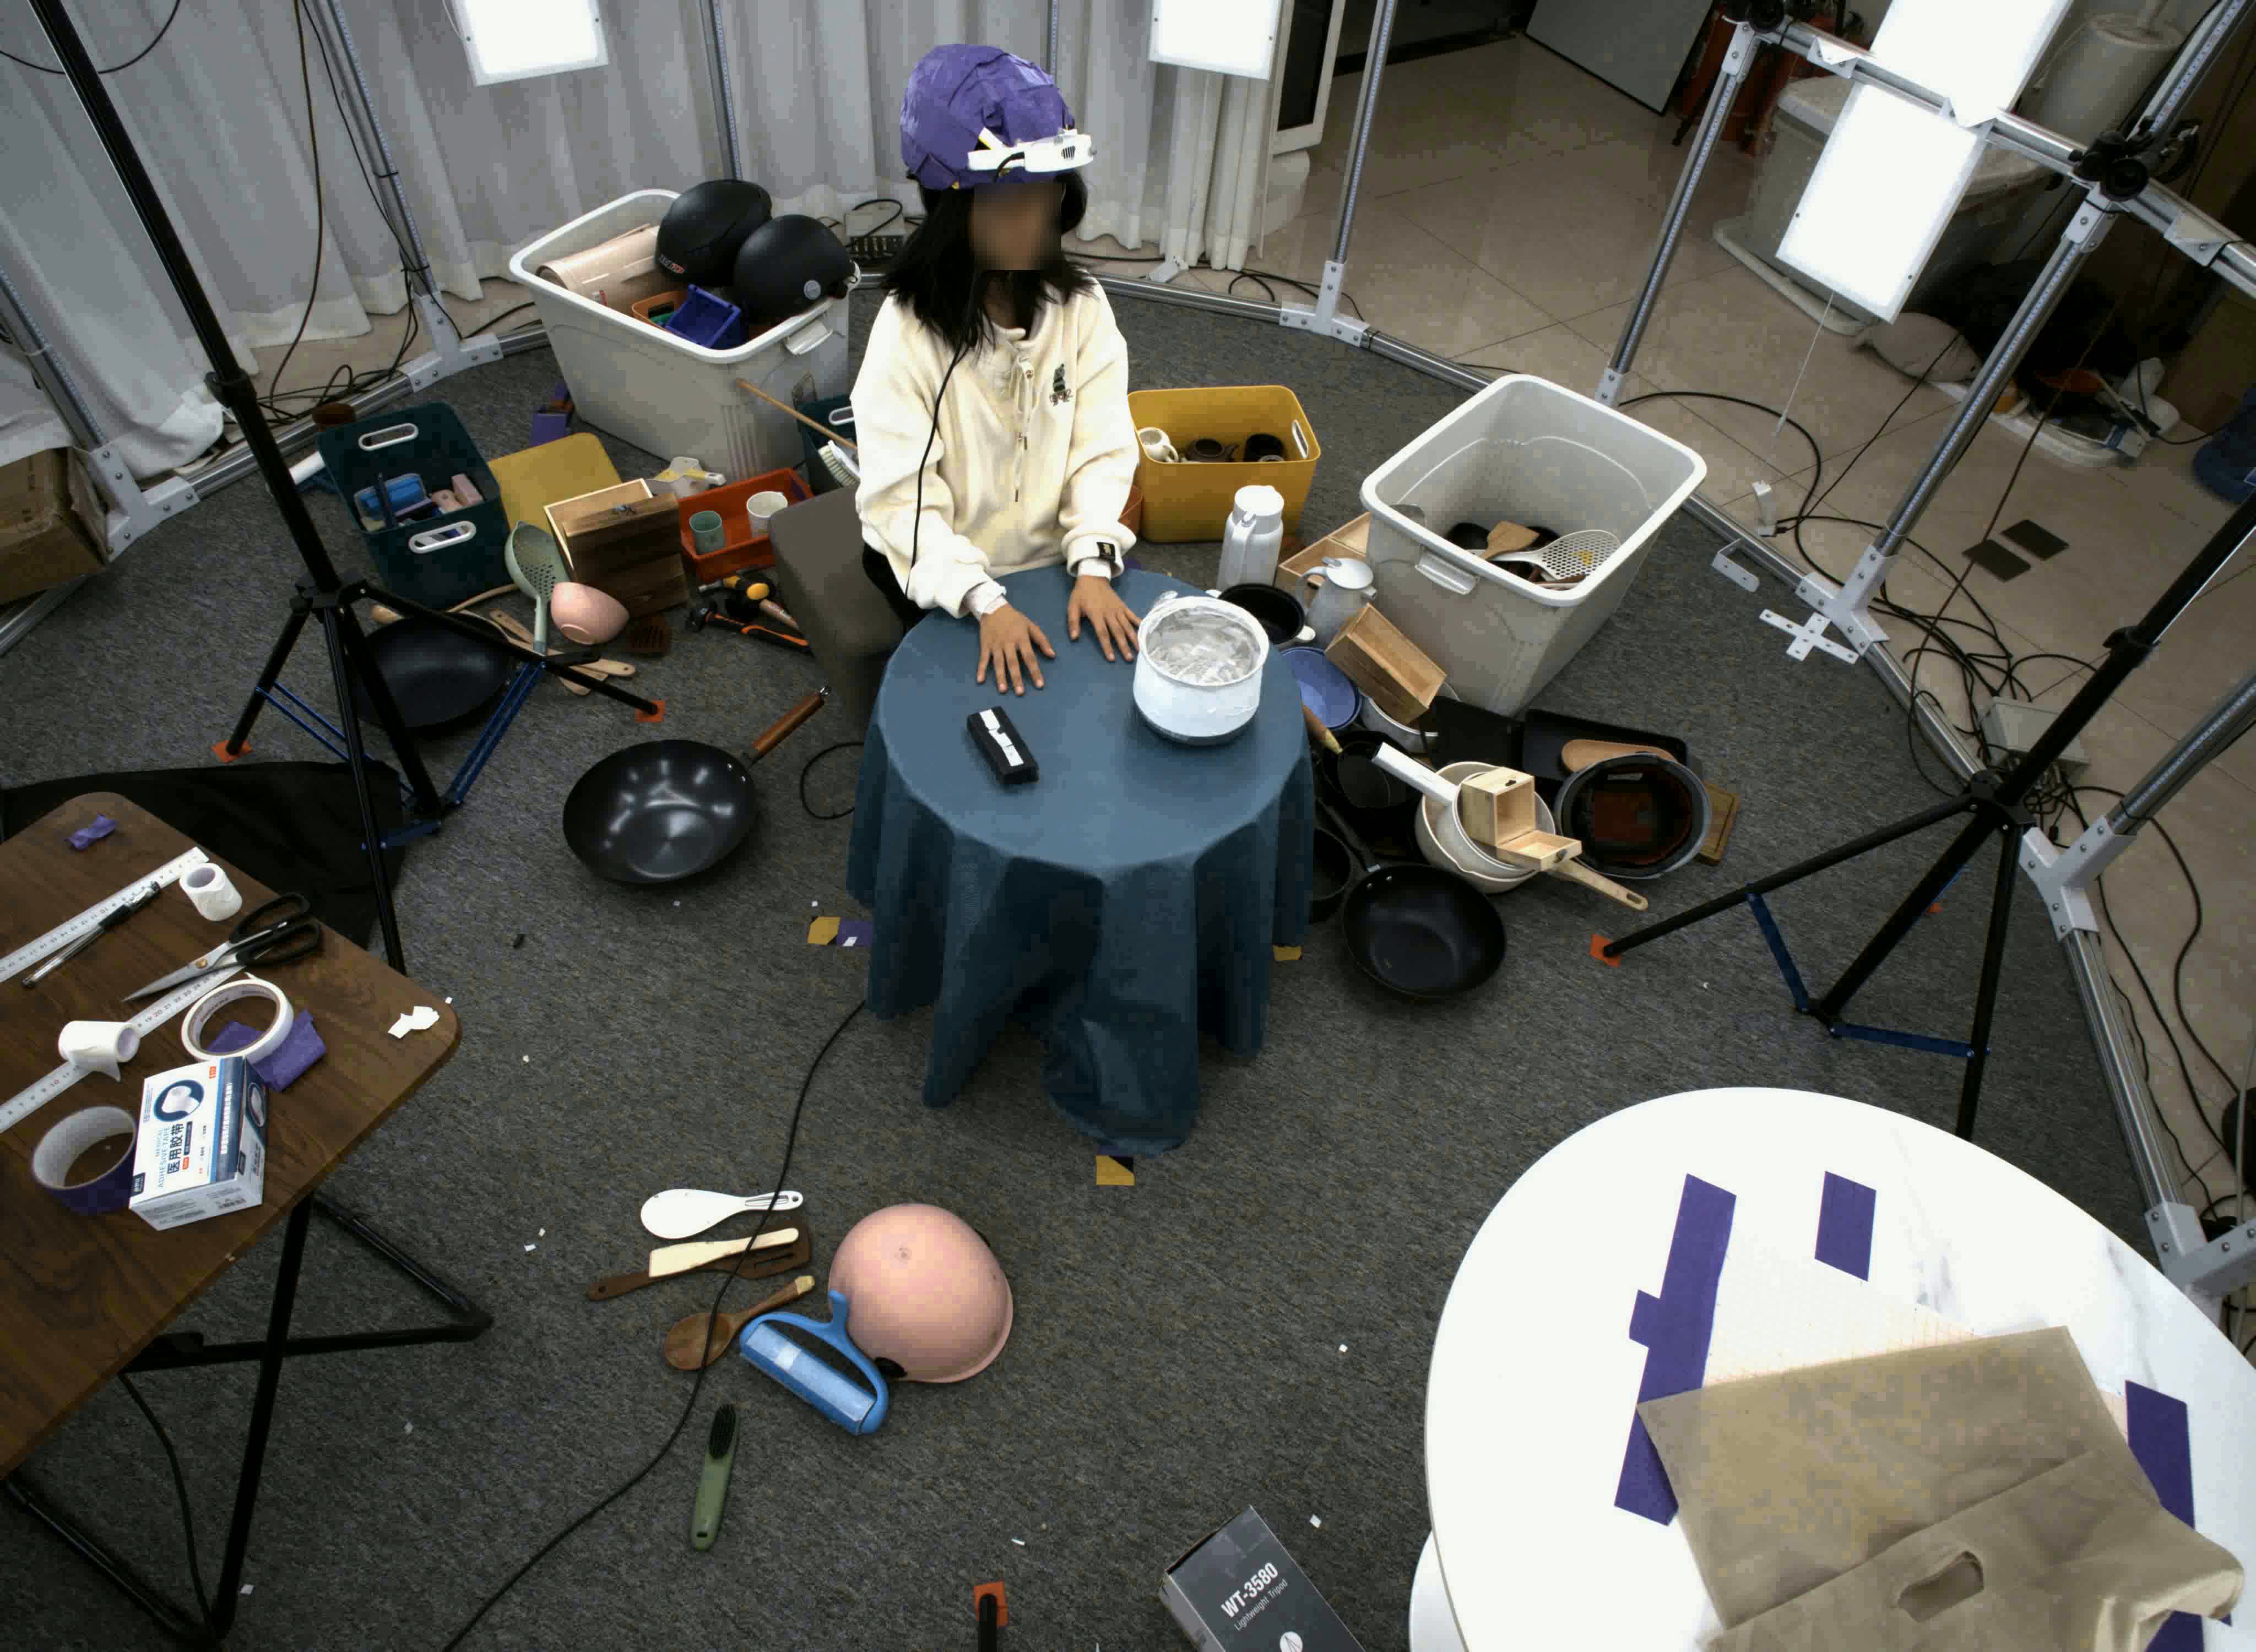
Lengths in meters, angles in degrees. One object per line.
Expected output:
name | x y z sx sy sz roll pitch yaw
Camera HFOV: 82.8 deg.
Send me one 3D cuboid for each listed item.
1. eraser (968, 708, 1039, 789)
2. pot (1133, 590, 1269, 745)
eraser | -0.168 -0.106 1.733 0.053 0.030 0.128 -18 52 -19
pot | 0.085 -0.230 1.785 0.179 0.133 0.239 -18 54 -19
